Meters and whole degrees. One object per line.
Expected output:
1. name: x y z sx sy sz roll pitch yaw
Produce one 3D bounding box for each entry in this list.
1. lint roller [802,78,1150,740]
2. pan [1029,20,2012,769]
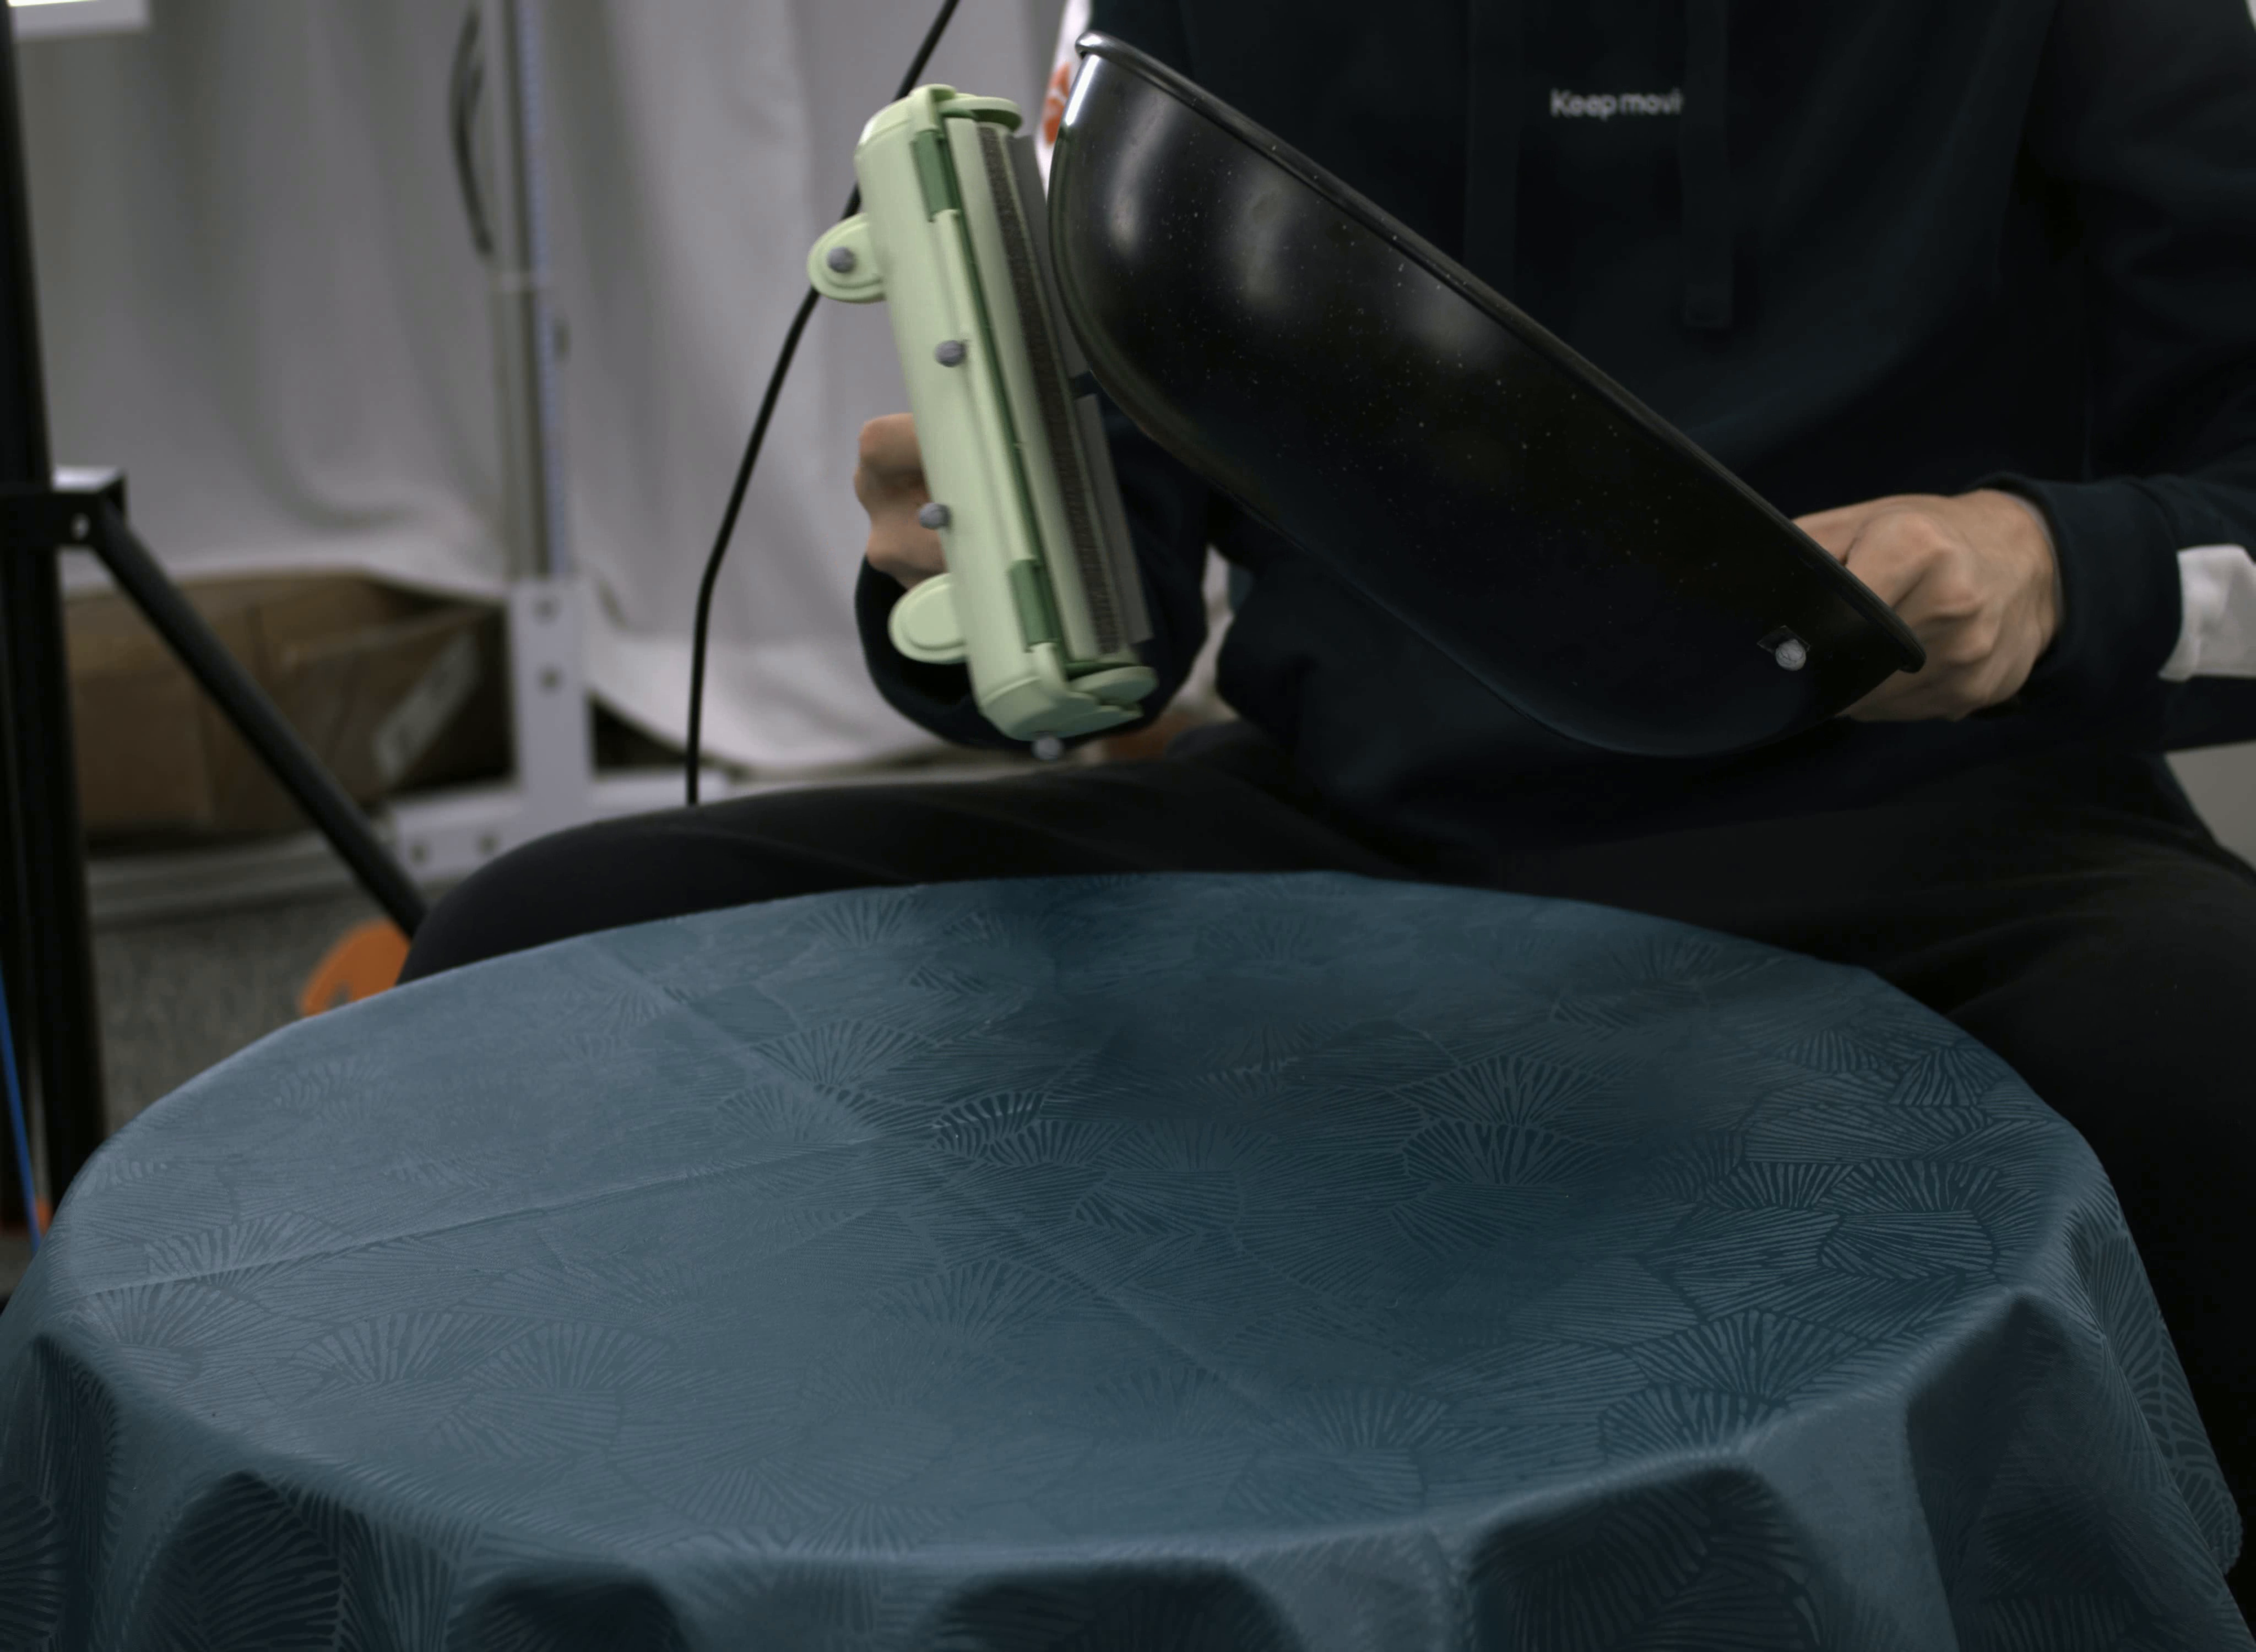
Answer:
1. lint roller: -0.053 -0.110 1.659 0.081 0.200 0.183 -11 -13 -10
2. pan: 0.133 -0.087 1.618 0.317 0.112 0.465 41 5 41
